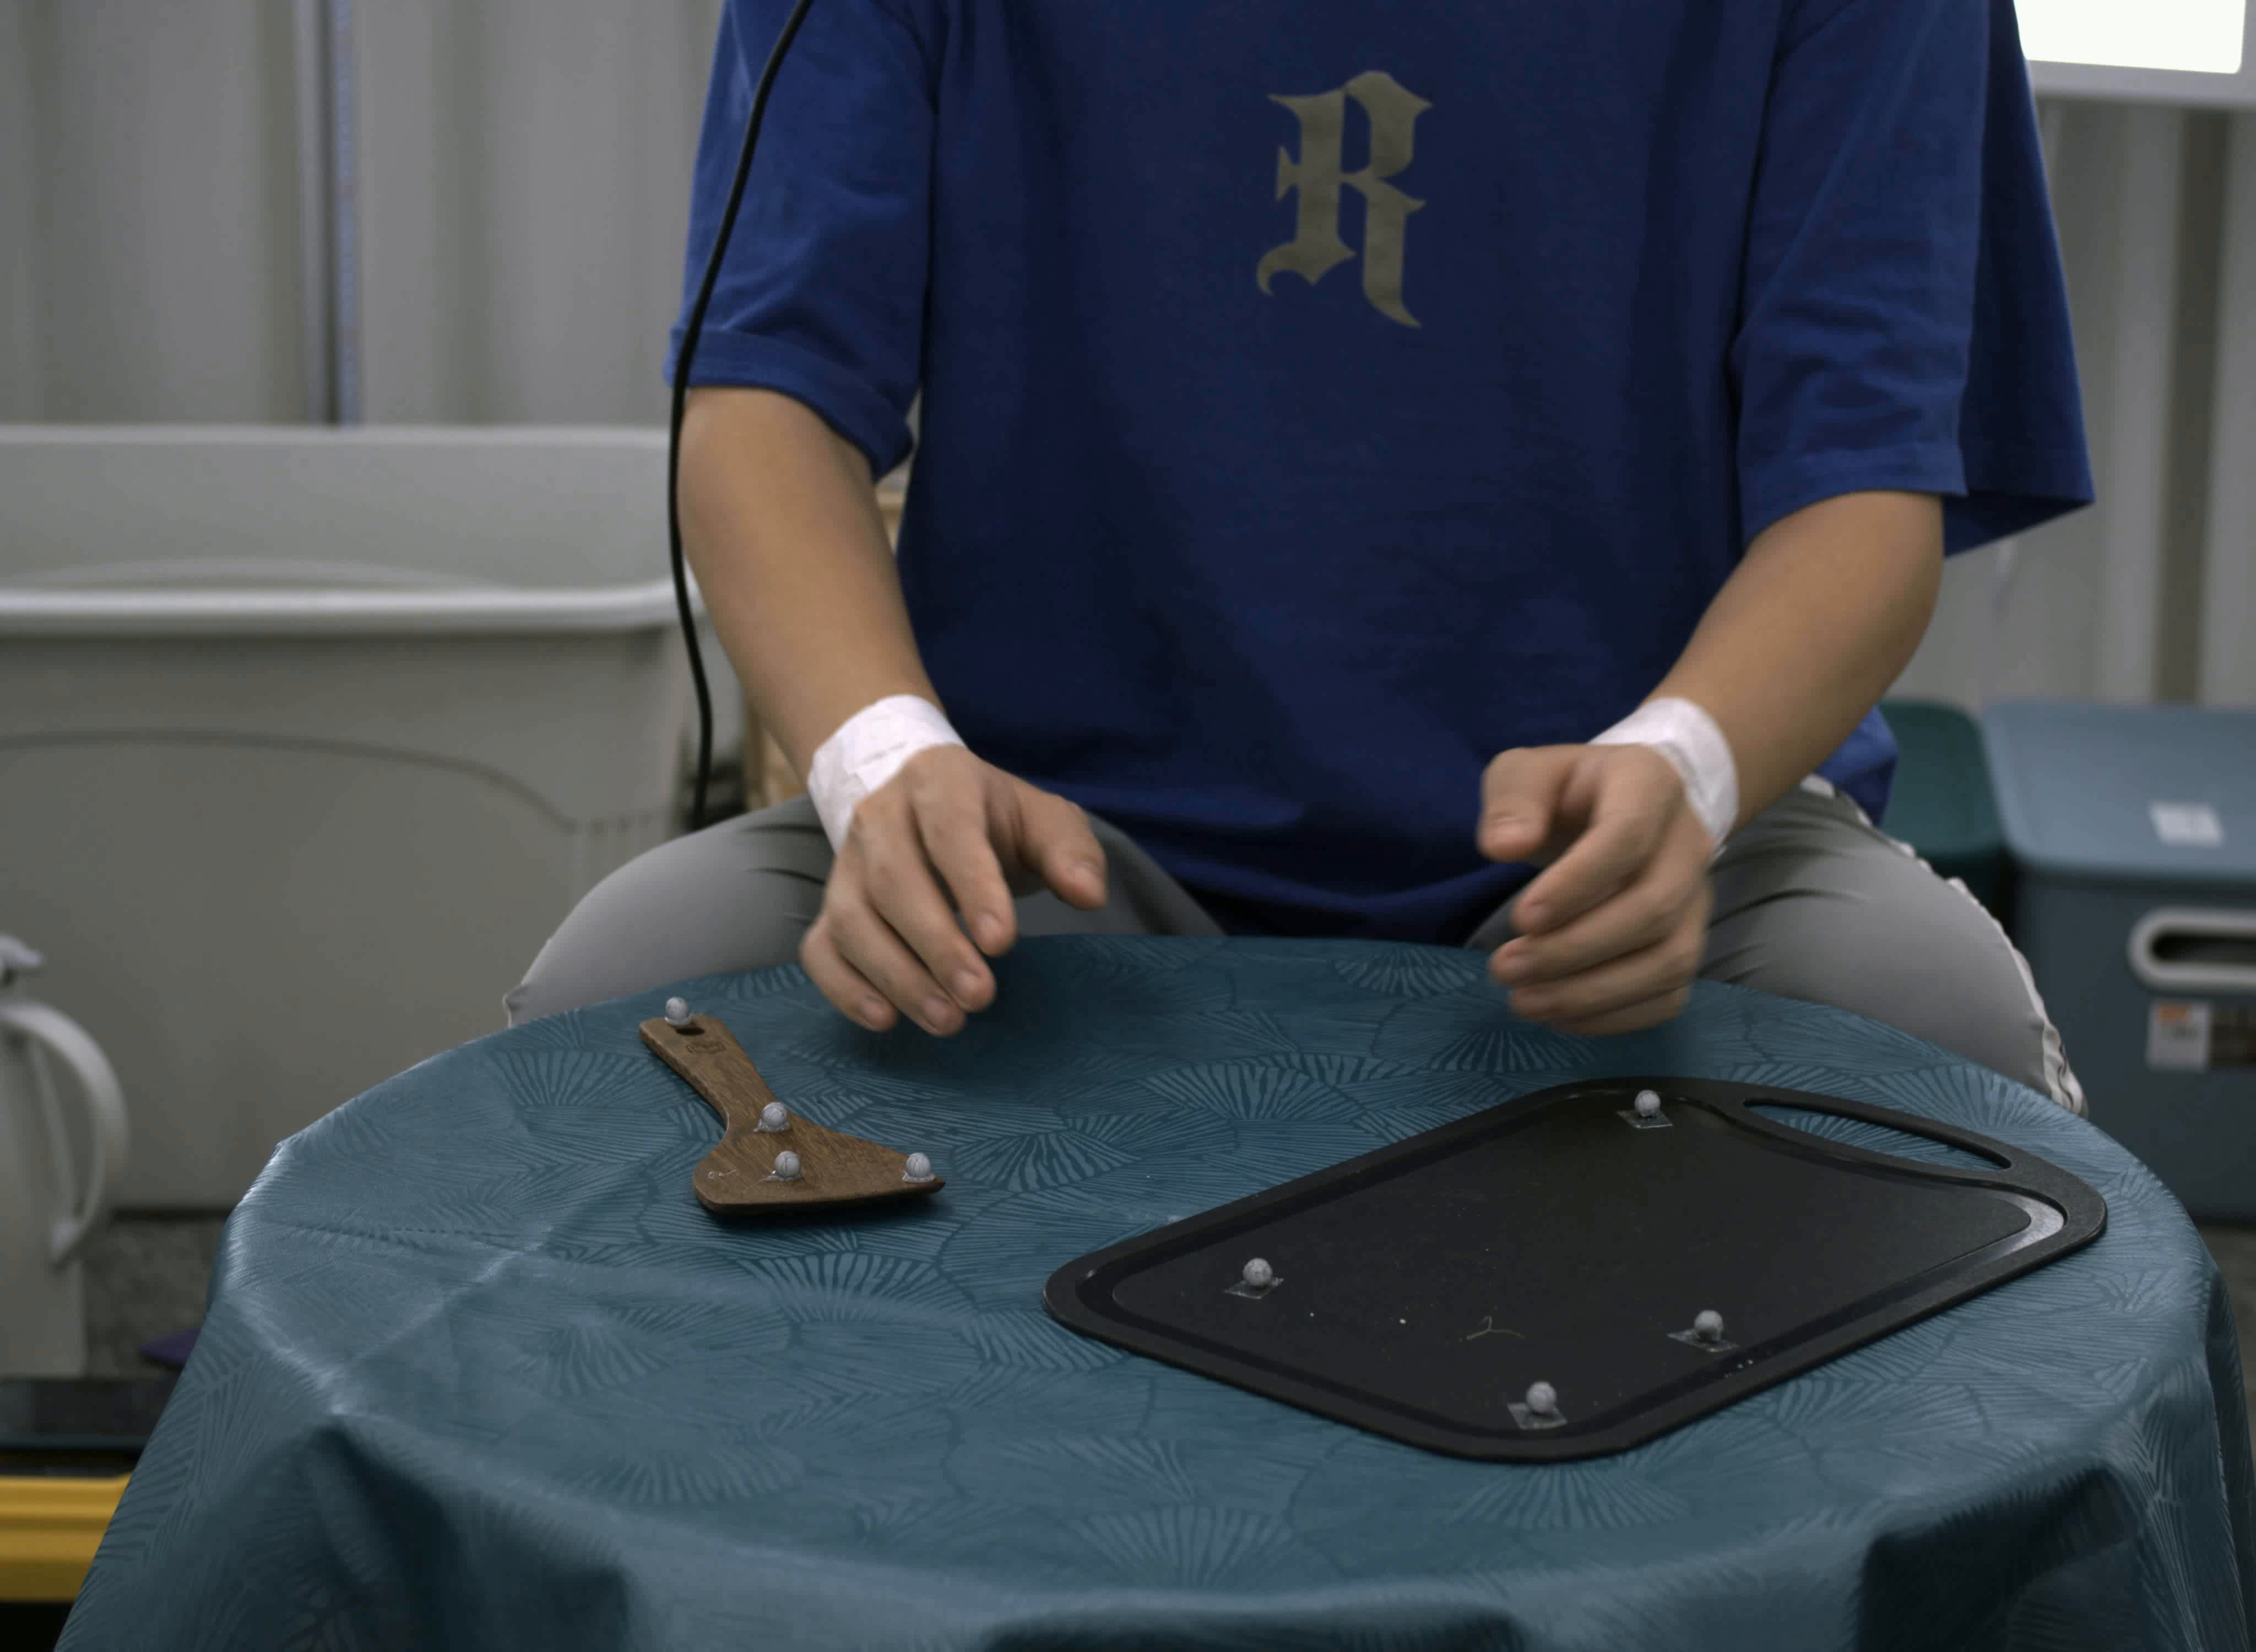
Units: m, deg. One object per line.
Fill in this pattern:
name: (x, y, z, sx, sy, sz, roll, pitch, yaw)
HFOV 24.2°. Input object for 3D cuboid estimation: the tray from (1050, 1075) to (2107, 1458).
tray: (0.143, 0.123, 1.577, 0.208, 0.010, 0.327, 14, 20, 41)

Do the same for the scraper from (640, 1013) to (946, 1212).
scraper: (-0.120, 0.091, 1.680, 0.076, 0.011, 0.209, -3, 15, -18)
